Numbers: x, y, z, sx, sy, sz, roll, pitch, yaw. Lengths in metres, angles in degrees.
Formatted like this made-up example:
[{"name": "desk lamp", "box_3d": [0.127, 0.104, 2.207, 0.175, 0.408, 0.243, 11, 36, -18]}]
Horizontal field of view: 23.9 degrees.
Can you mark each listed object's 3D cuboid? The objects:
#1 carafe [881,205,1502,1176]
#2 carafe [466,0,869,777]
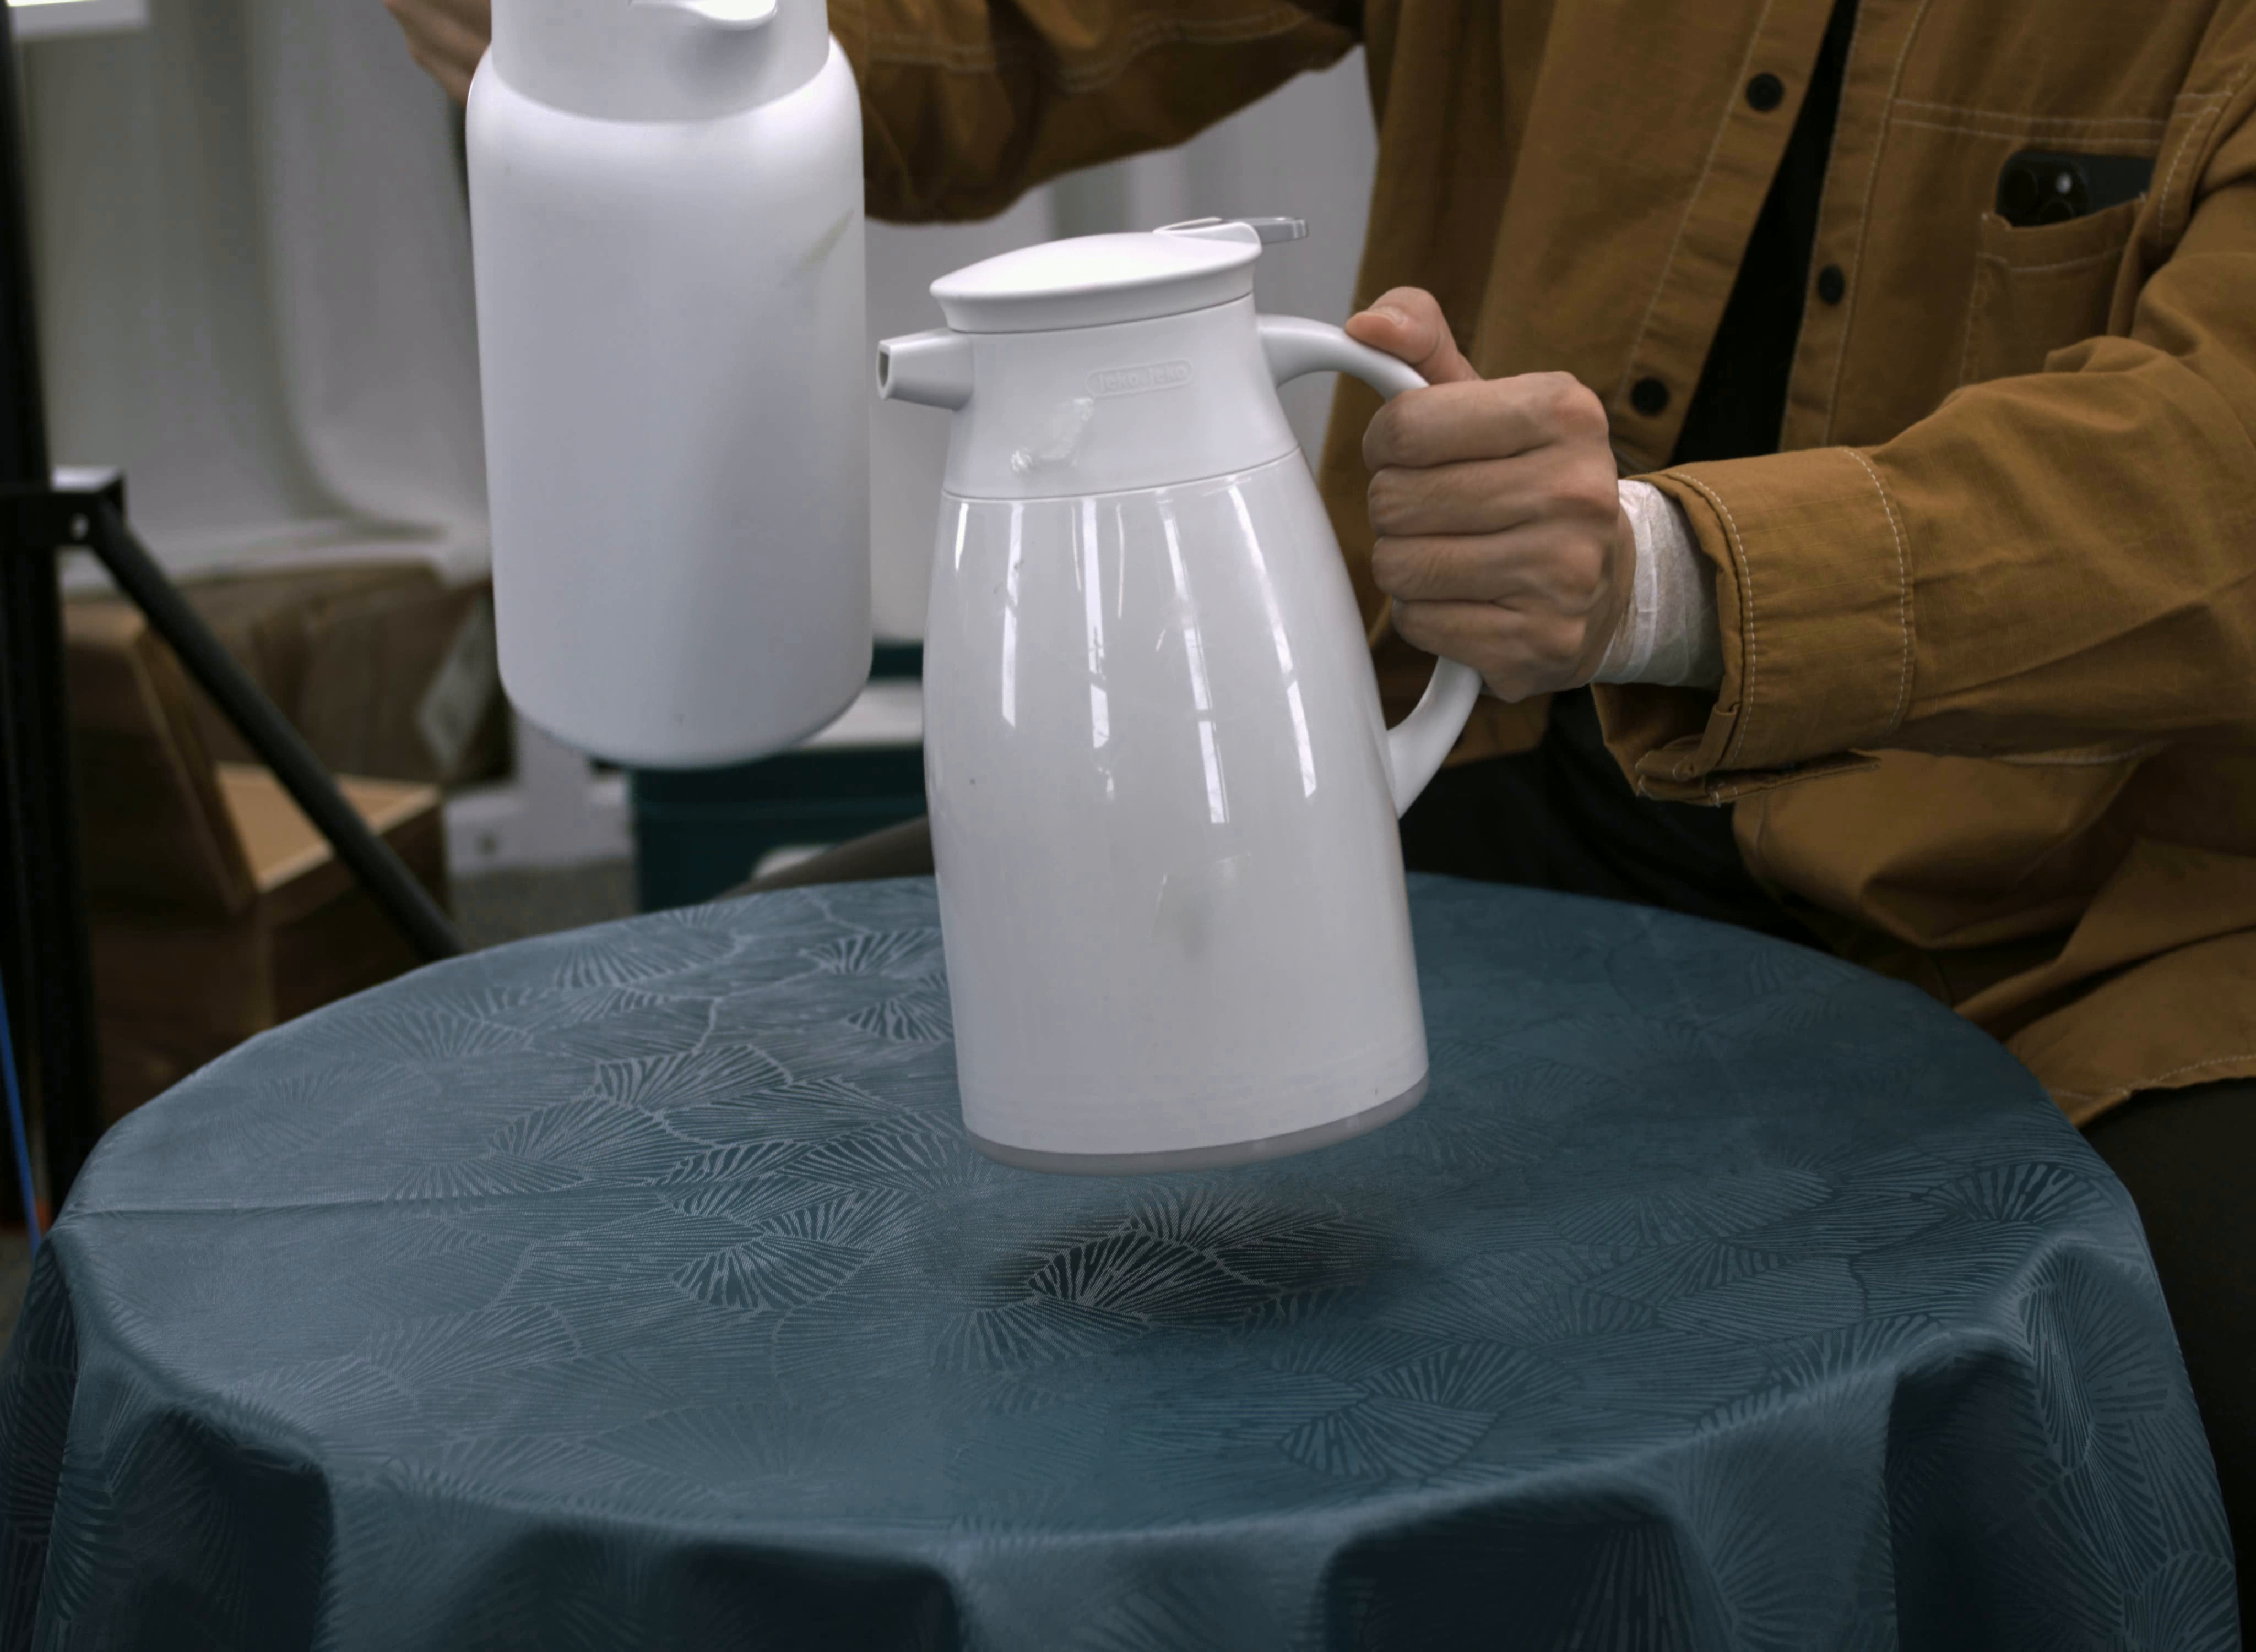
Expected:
[{"name": "carafe", "box_3d": [0.023, -0.044, 1.469, 0.165, 0.249, 0.134, -8, 11, -11]}, {"name": "carafe", "box_3d": [-0.147, -0.162, 1.623, 0.121, 0.267, 0.177, -17, 35, -22]}]
